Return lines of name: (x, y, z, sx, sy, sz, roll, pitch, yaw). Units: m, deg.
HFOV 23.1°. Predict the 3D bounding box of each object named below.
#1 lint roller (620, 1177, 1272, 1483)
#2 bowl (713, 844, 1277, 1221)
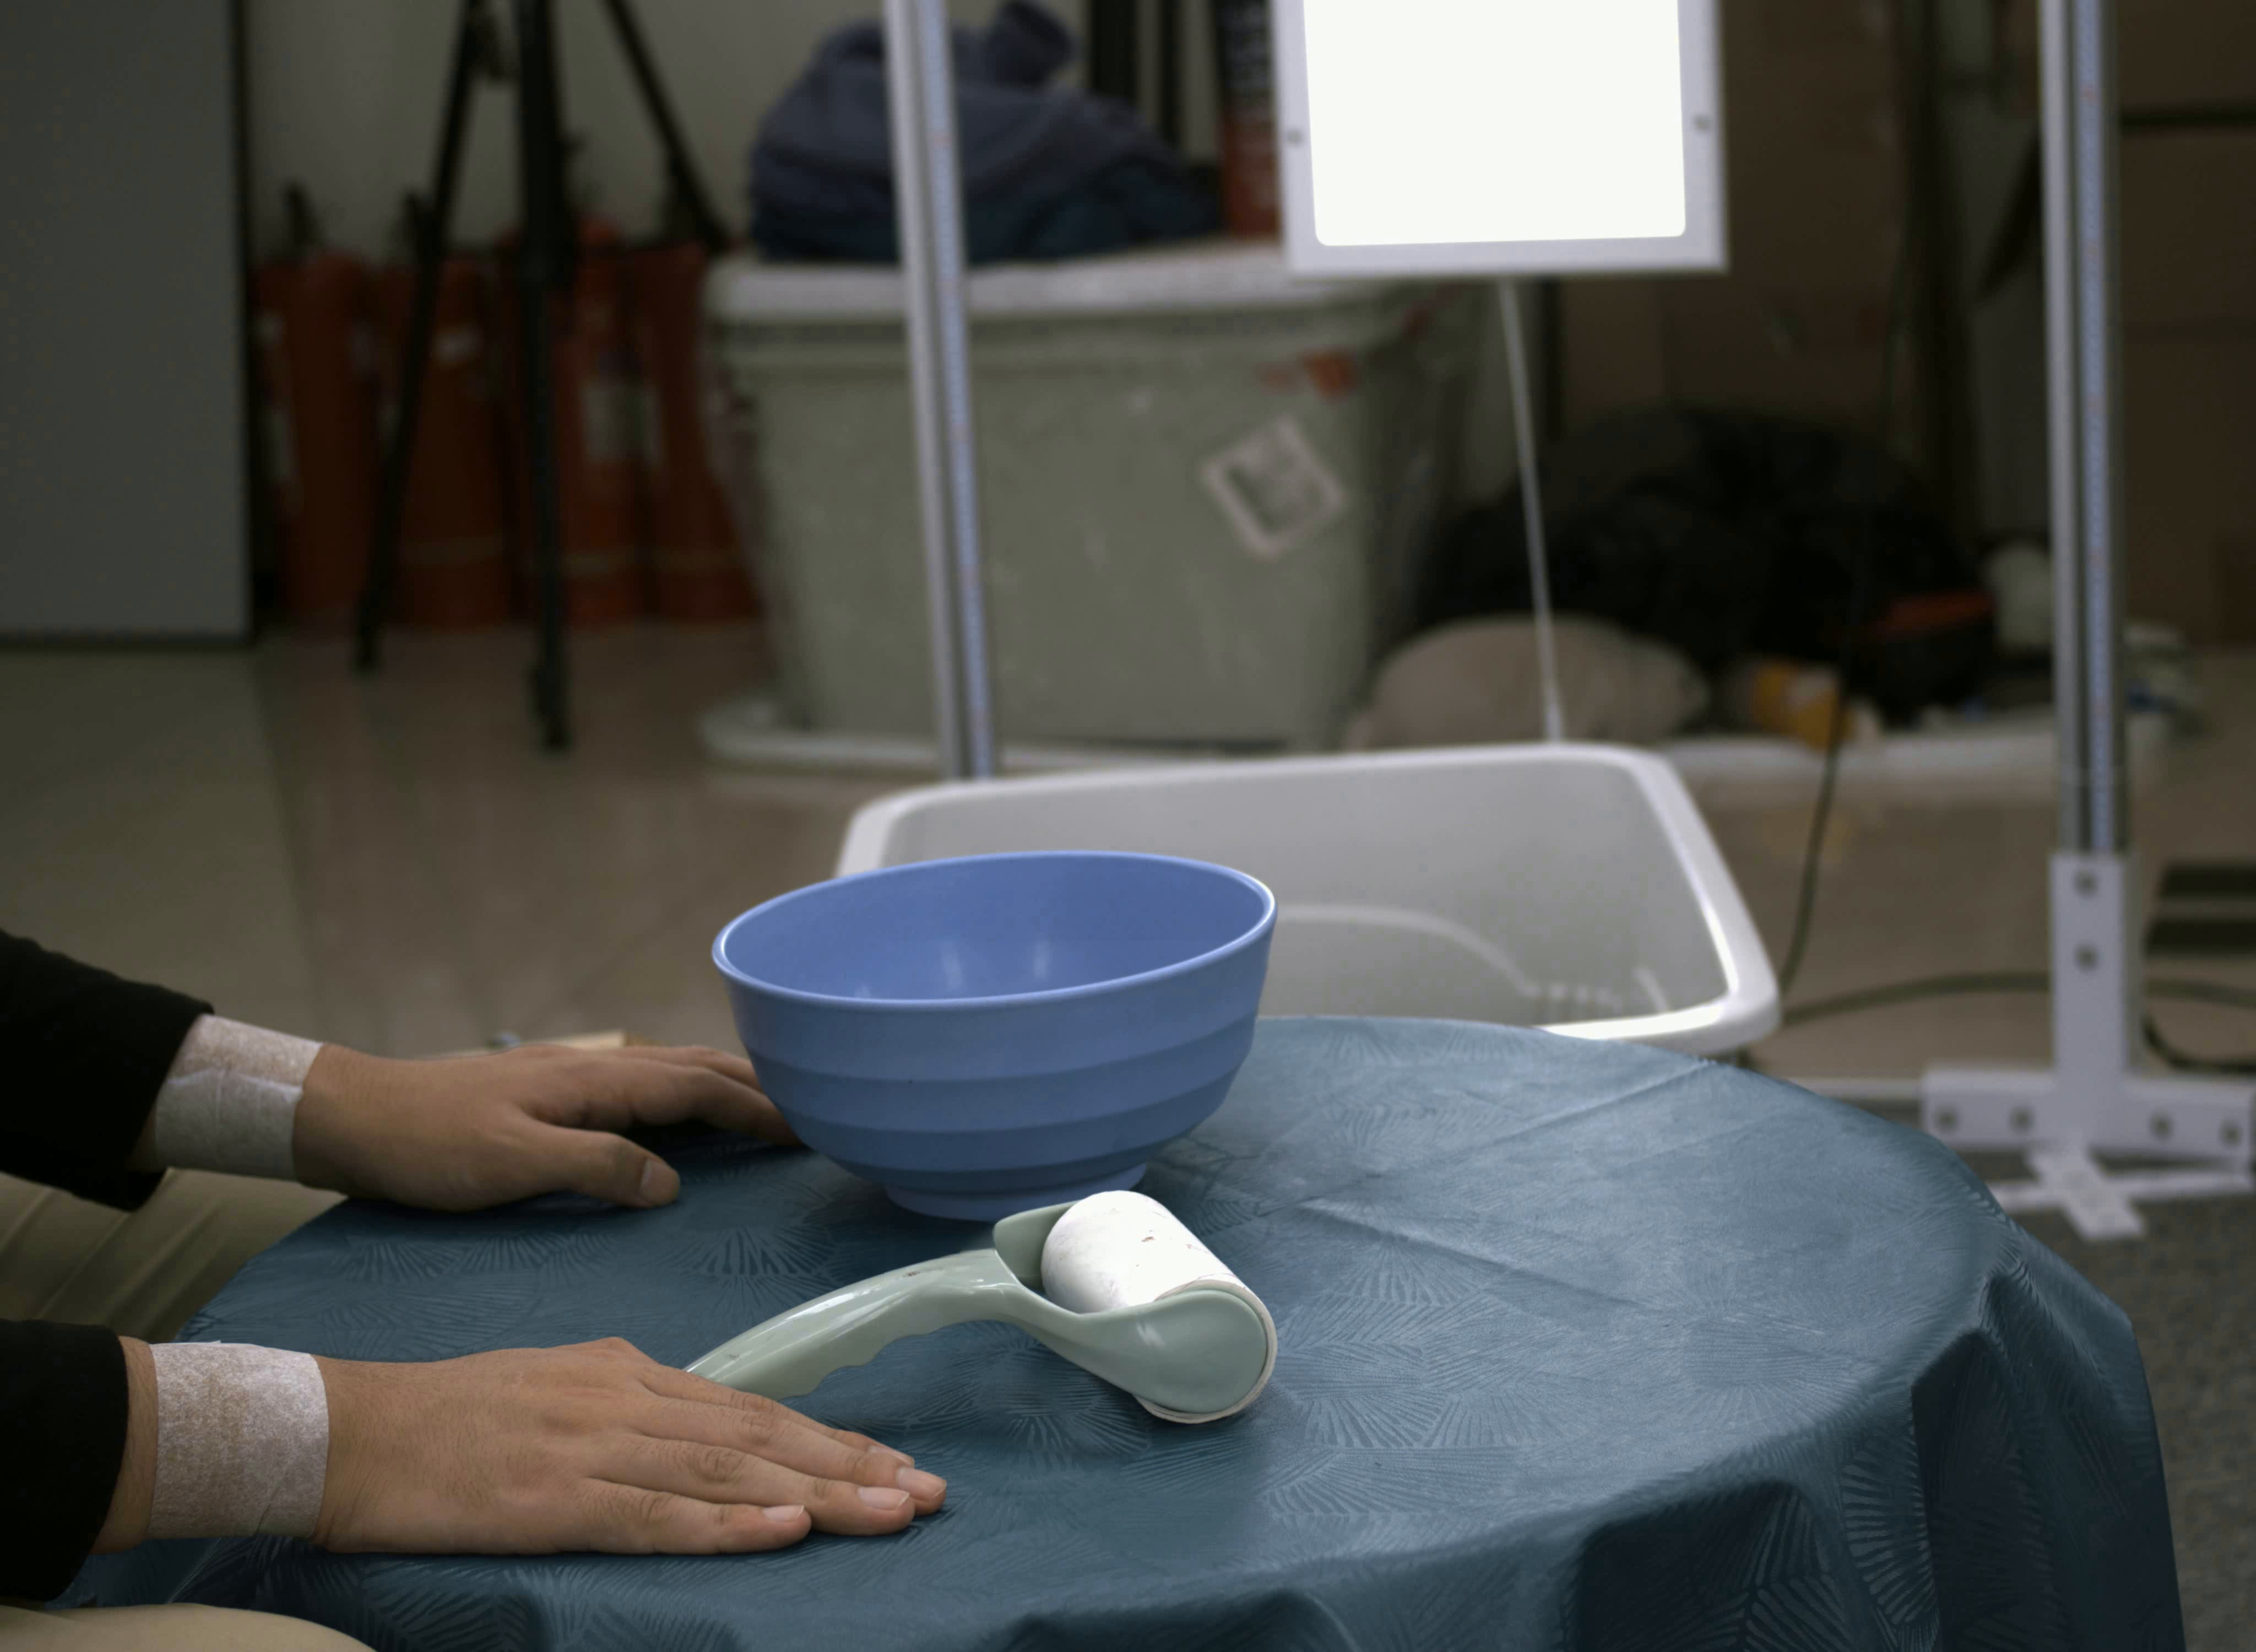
lint roller: (-0.063, 0.158, 1.701, 0.195, 0.048, 0.118, -10, 16, -13)
bowl: (-0.043, 0.078, 1.912, 0.196, 0.096, 0.196, -5, 15, 0)
